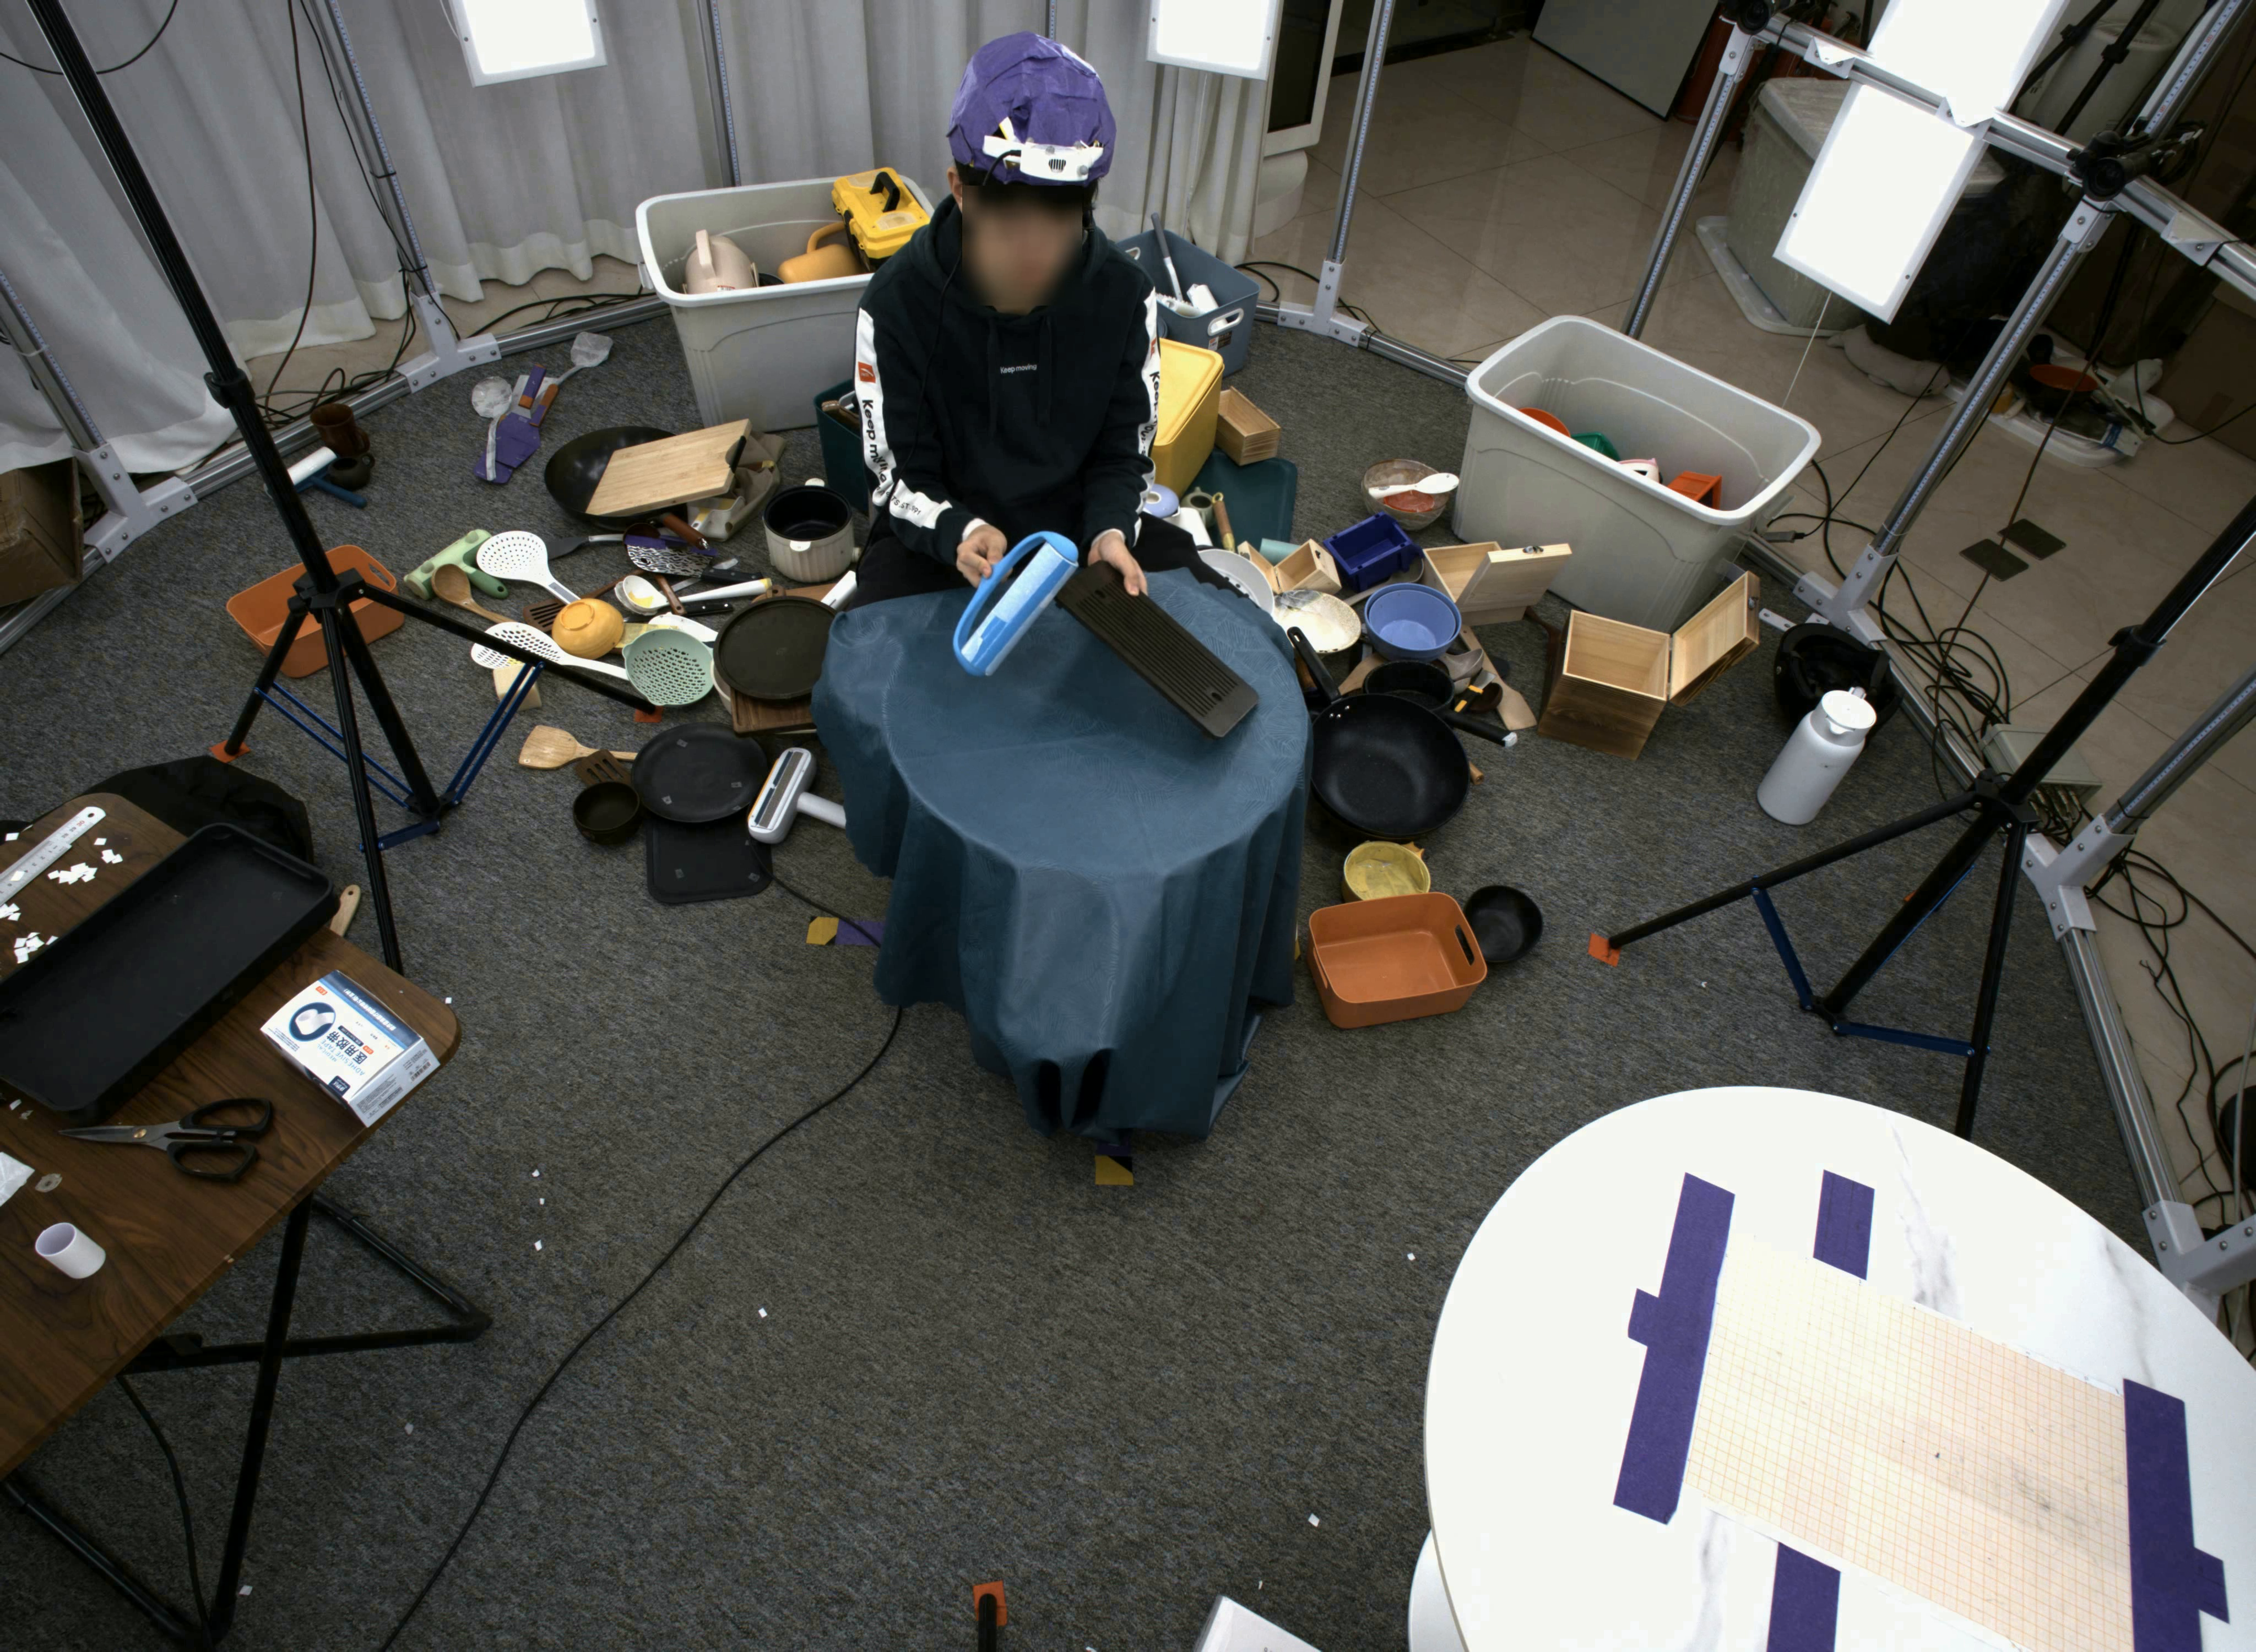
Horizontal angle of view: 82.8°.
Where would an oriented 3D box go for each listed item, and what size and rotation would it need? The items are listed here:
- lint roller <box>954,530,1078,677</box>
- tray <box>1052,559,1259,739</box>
[{"bbox_3d":[-0.170,-0.327,1.759,0.067,0.227,0.184,24,22,-41],"label":"lint roller"},{"bbox_3d":[0.039,-0.248,1.783,0.307,0.018,0.172,41,36,4],"label":"tray"}]
